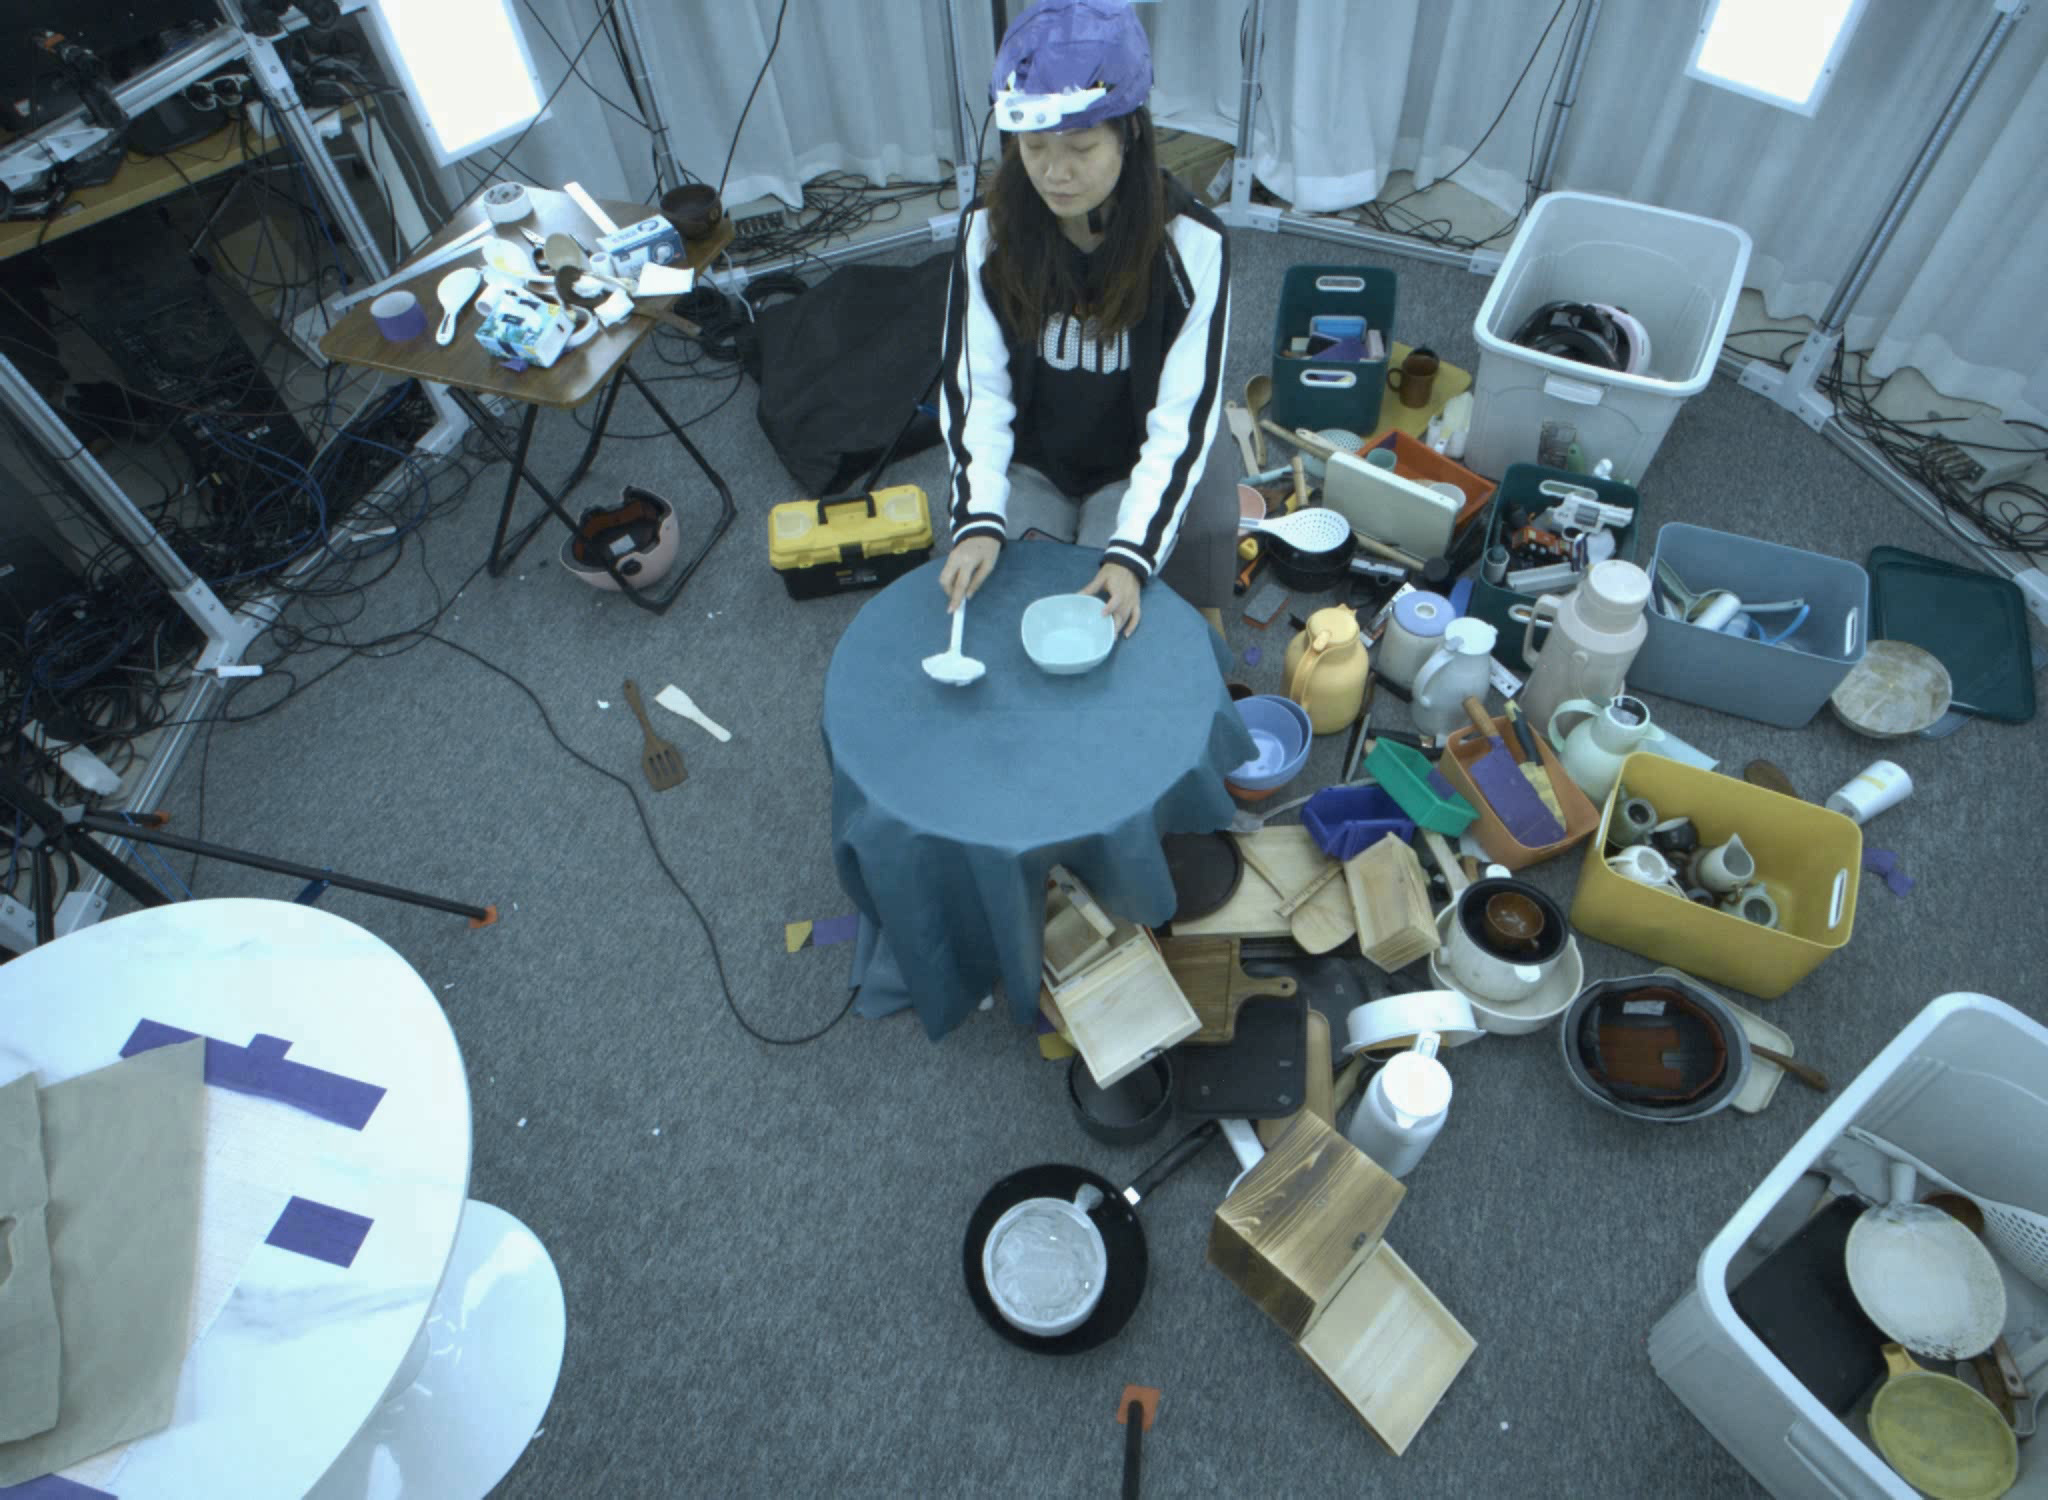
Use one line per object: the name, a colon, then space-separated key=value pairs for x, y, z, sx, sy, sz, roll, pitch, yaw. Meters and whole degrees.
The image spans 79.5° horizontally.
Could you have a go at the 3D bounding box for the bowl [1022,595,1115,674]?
bowl: x=0.068 y=-0.166 z=1.870 sx=0.151 sy=0.059 sz=0.150 roll=-1 pitch=55 yaw=2

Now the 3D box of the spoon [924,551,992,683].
spoon: x=-0.089 y=-0.209 z=1.865 sx=0.101 sy=0.059 sz=0.275 roll=11 pitch=60 yaw=-8
